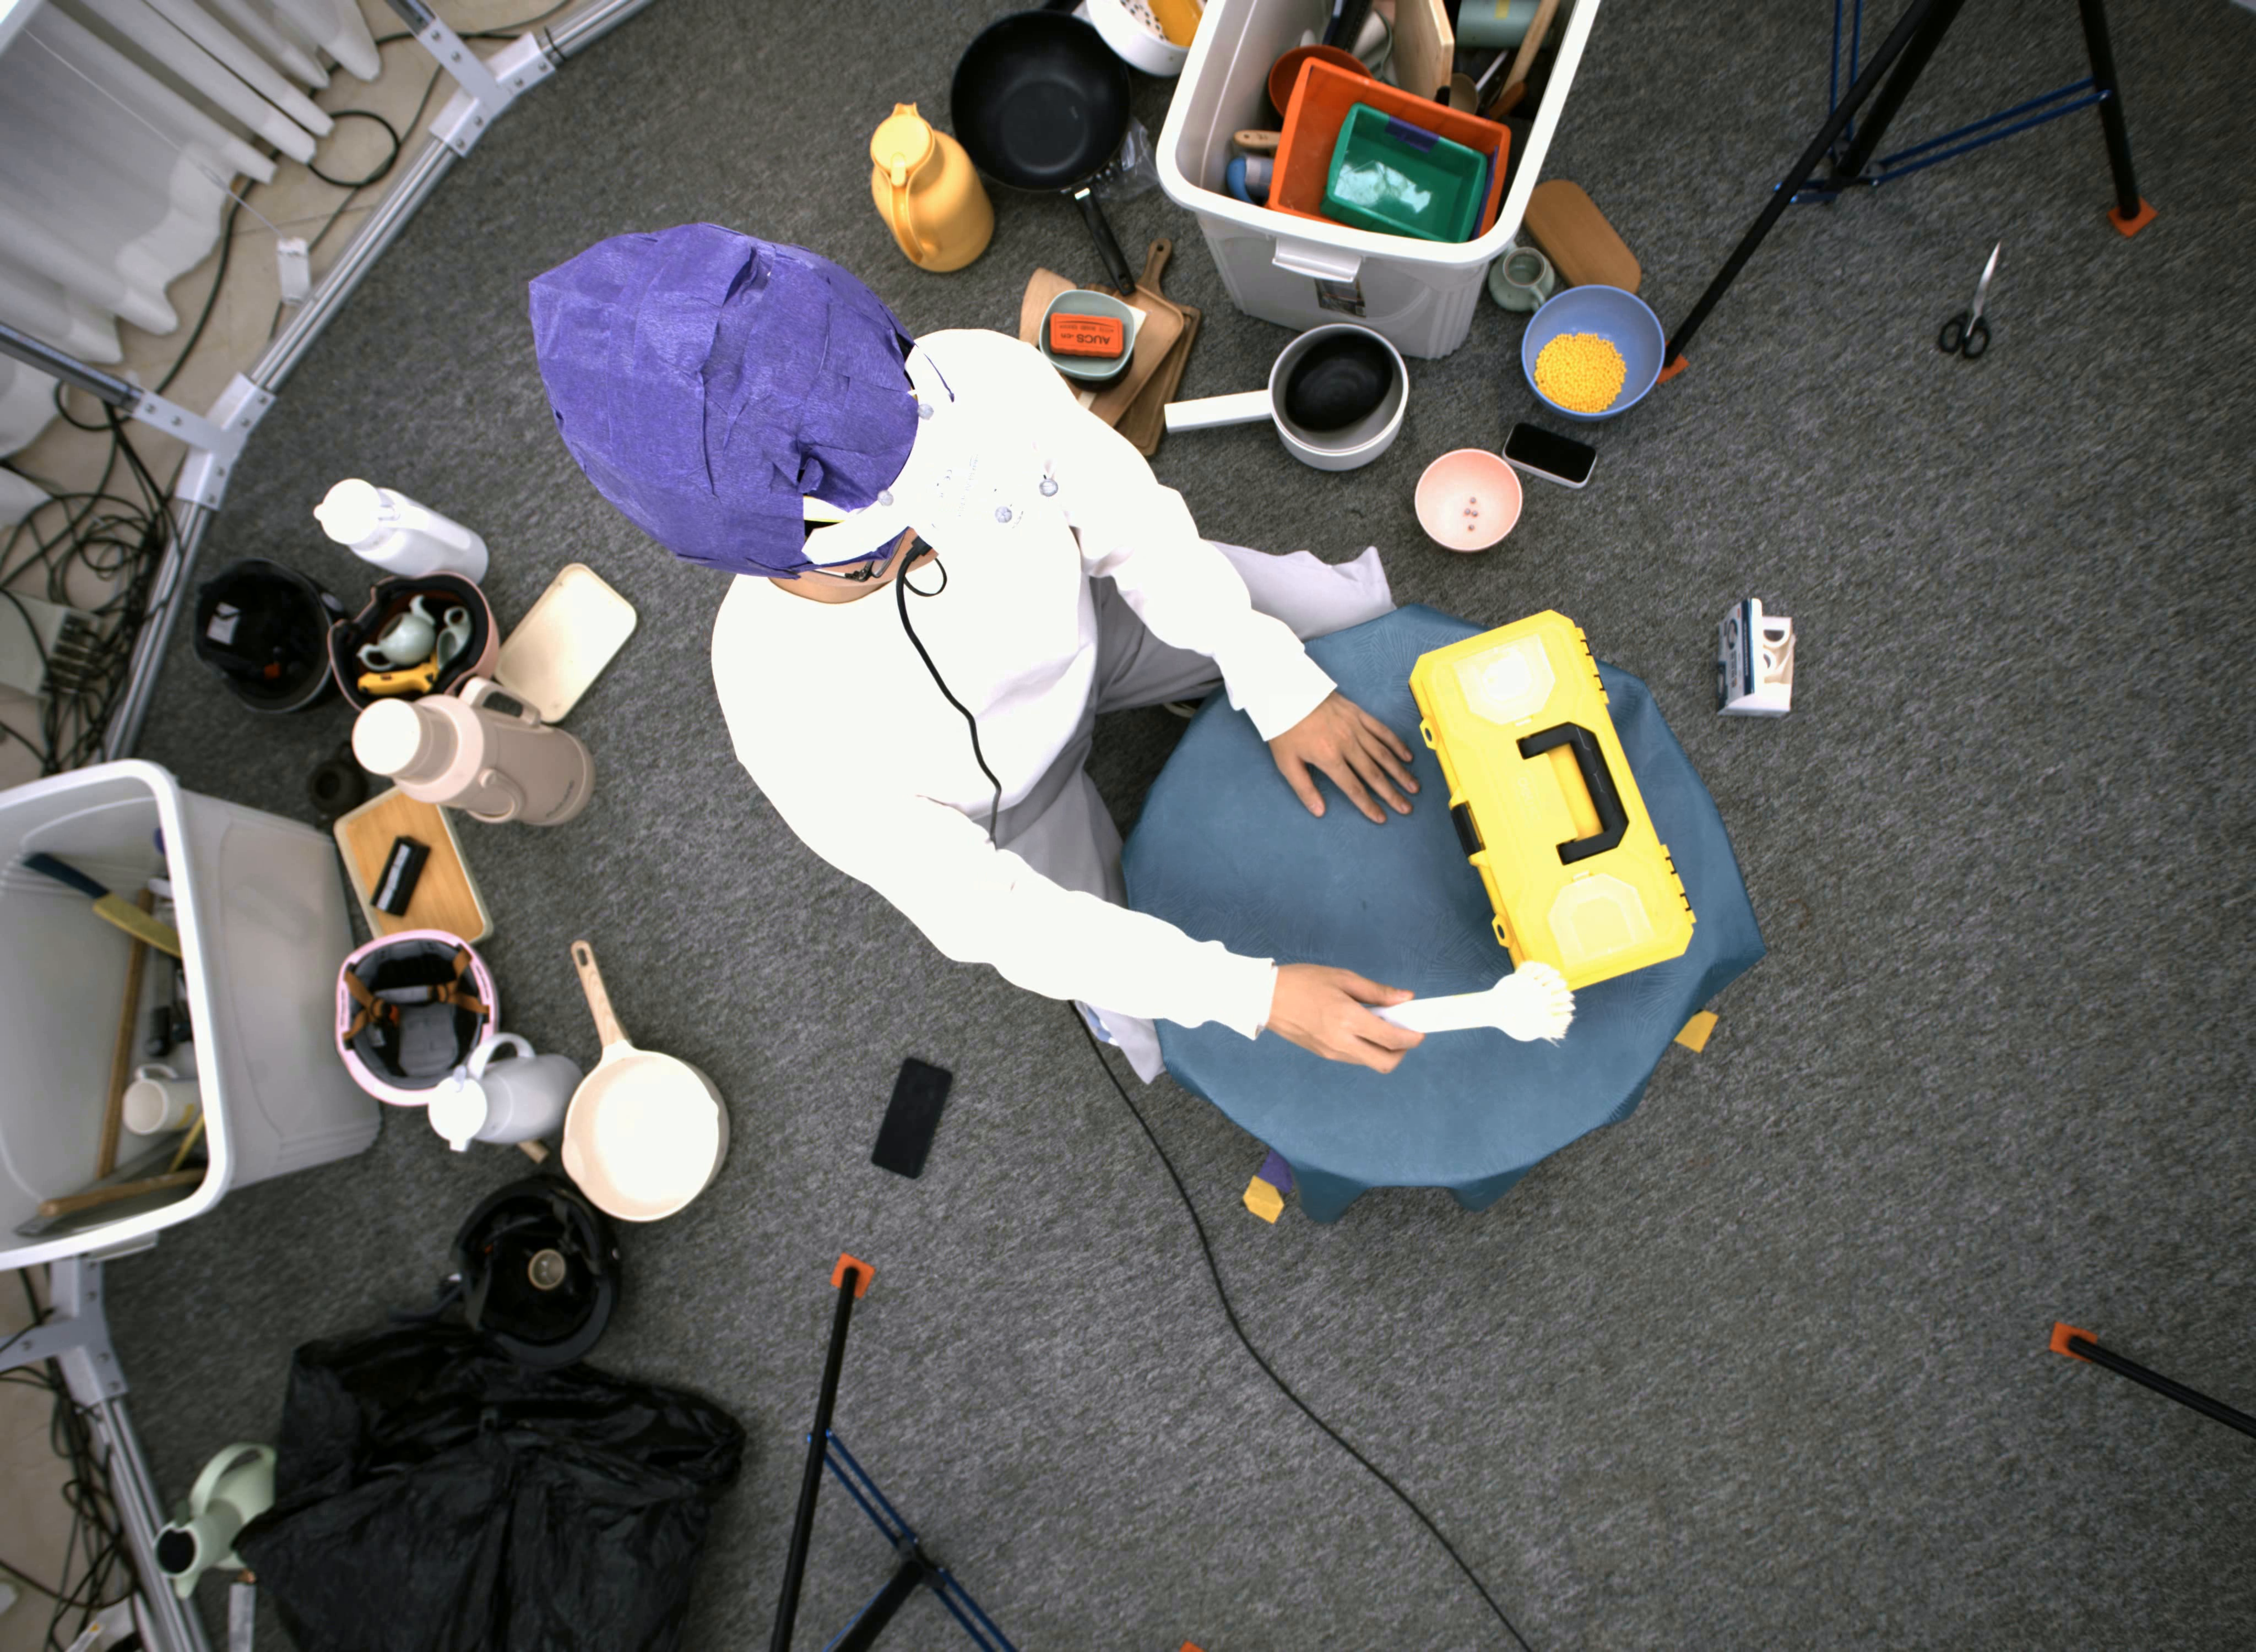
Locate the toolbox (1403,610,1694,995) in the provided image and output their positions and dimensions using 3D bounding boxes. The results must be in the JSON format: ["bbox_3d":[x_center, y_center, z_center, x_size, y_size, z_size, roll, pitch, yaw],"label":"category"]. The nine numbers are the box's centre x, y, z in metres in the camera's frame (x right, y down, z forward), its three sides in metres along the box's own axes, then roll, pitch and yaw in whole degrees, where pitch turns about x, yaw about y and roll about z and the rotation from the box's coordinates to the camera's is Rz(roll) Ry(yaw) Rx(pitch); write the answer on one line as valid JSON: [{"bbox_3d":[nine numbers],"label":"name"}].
[{"bbox_3d":[0.406,-0.019,1.351,0.182,0.173,0.349,-19,82,7],"label":"toolbox"}]

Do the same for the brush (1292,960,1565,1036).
[{"bbox_3d":[0.277,0.165,1.284,0.270,0.056,0.068,-12,76,41],"label":"brush"}]
